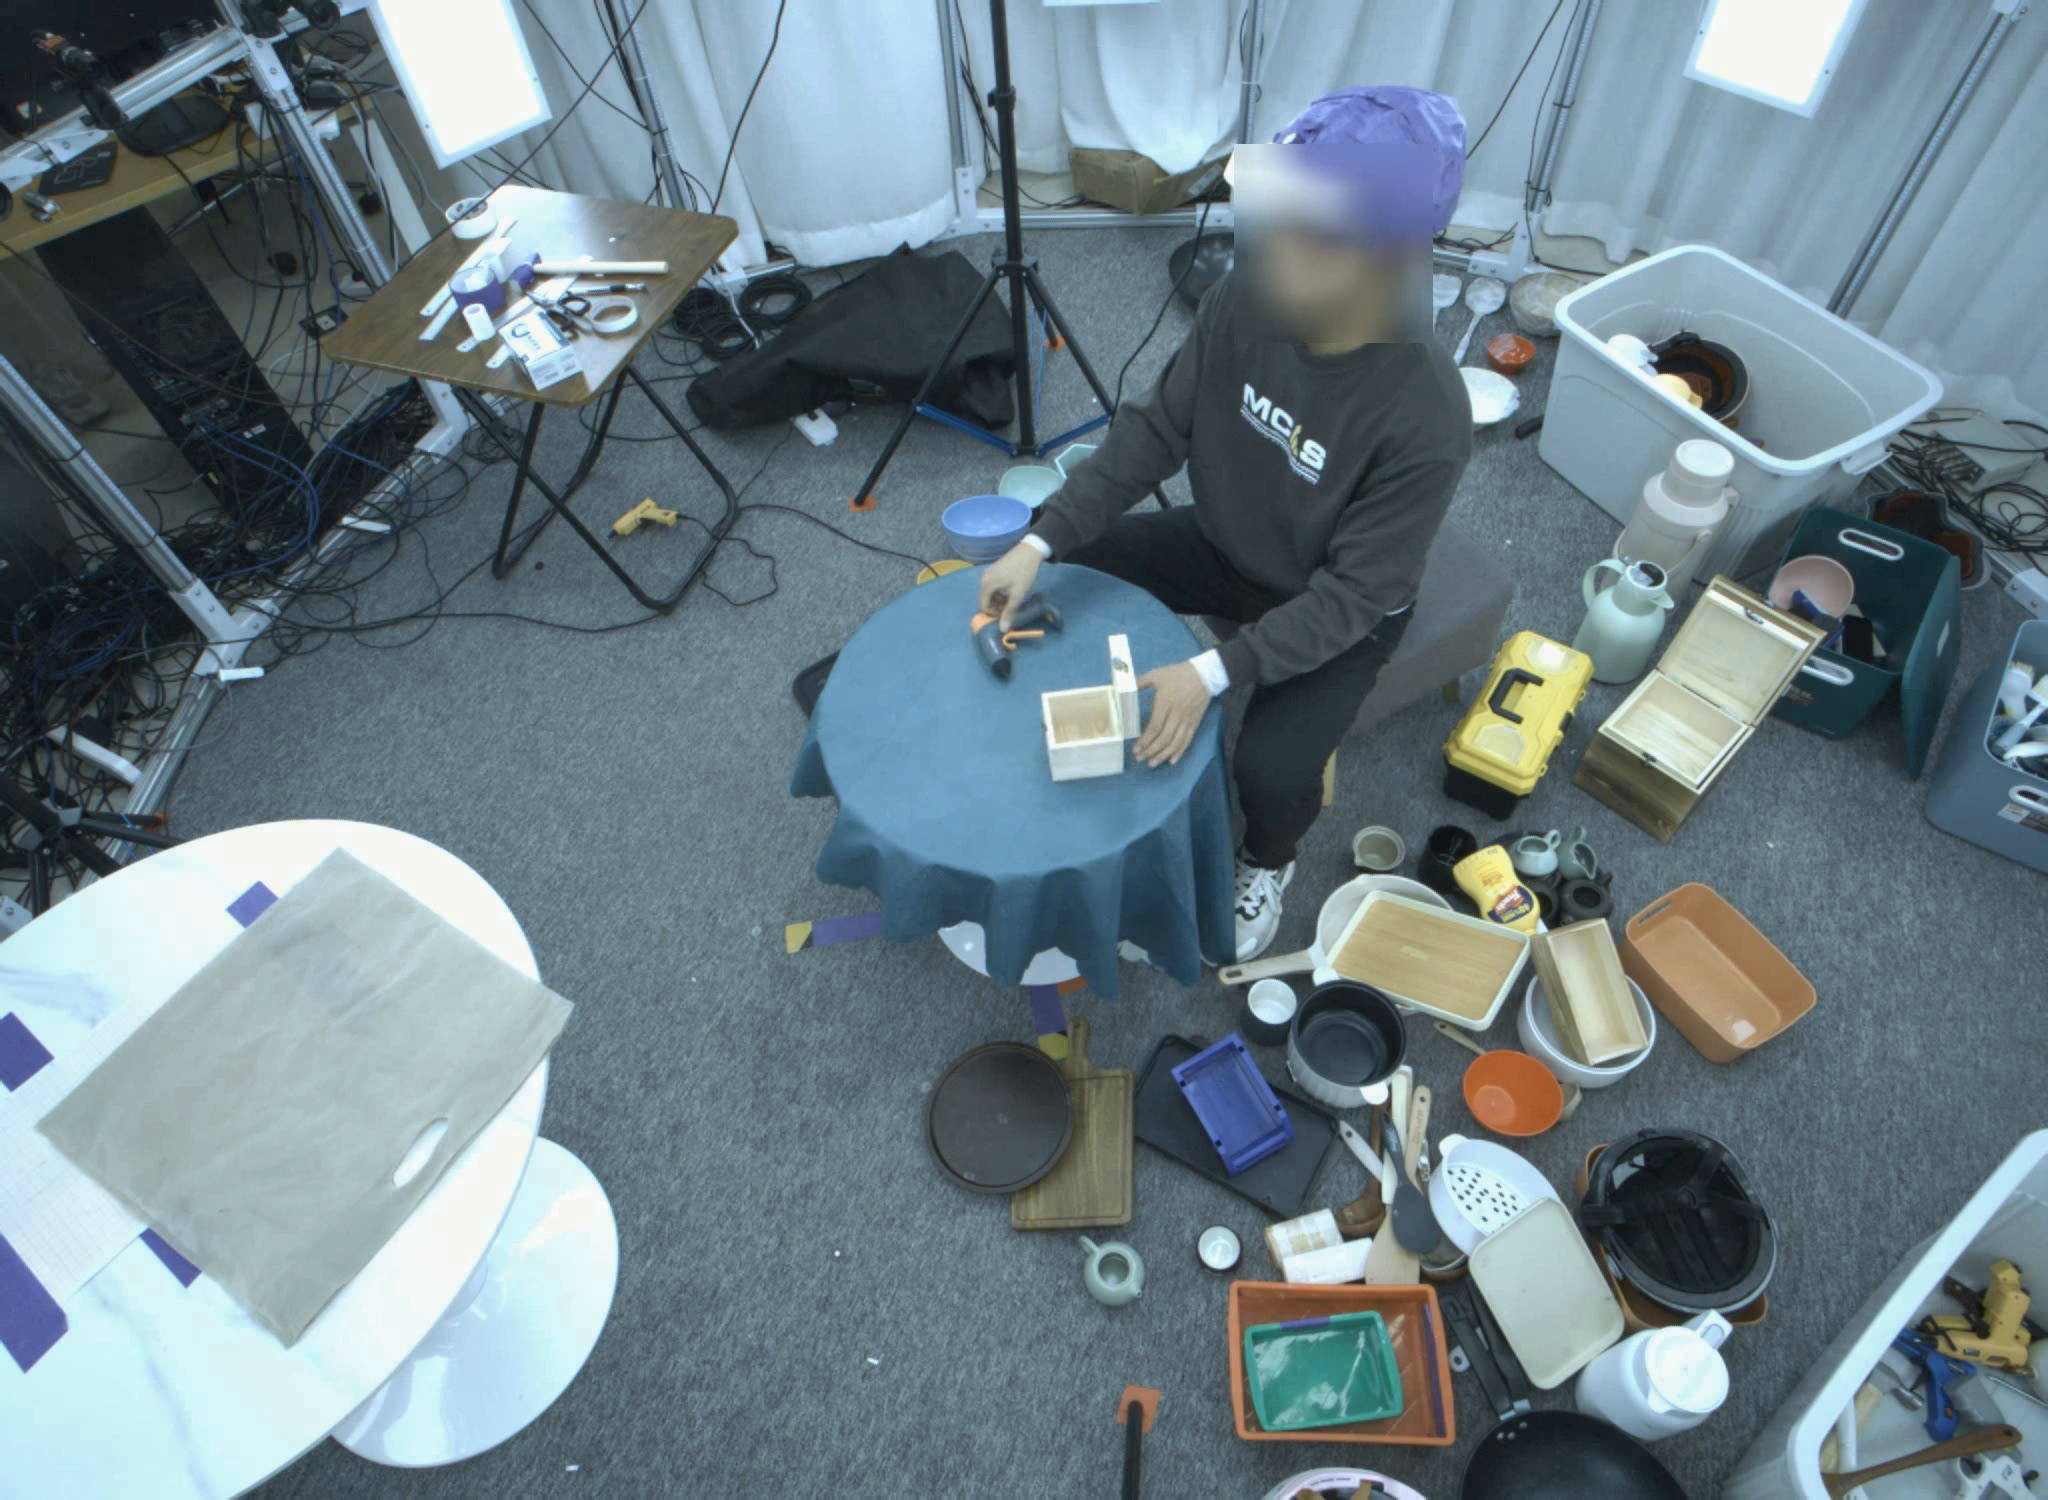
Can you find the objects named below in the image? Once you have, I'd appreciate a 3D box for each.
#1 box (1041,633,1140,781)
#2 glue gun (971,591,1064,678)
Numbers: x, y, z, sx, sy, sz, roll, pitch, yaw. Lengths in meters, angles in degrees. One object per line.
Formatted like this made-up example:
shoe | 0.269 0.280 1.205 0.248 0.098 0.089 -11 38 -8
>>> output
box | 0.088 -0.058 1.708 0.134 0.187 0.101 -10 54 -2
glue gun | -0.011 -0.179 1.895 0.141 0.041 0.116 -34 62 -18
